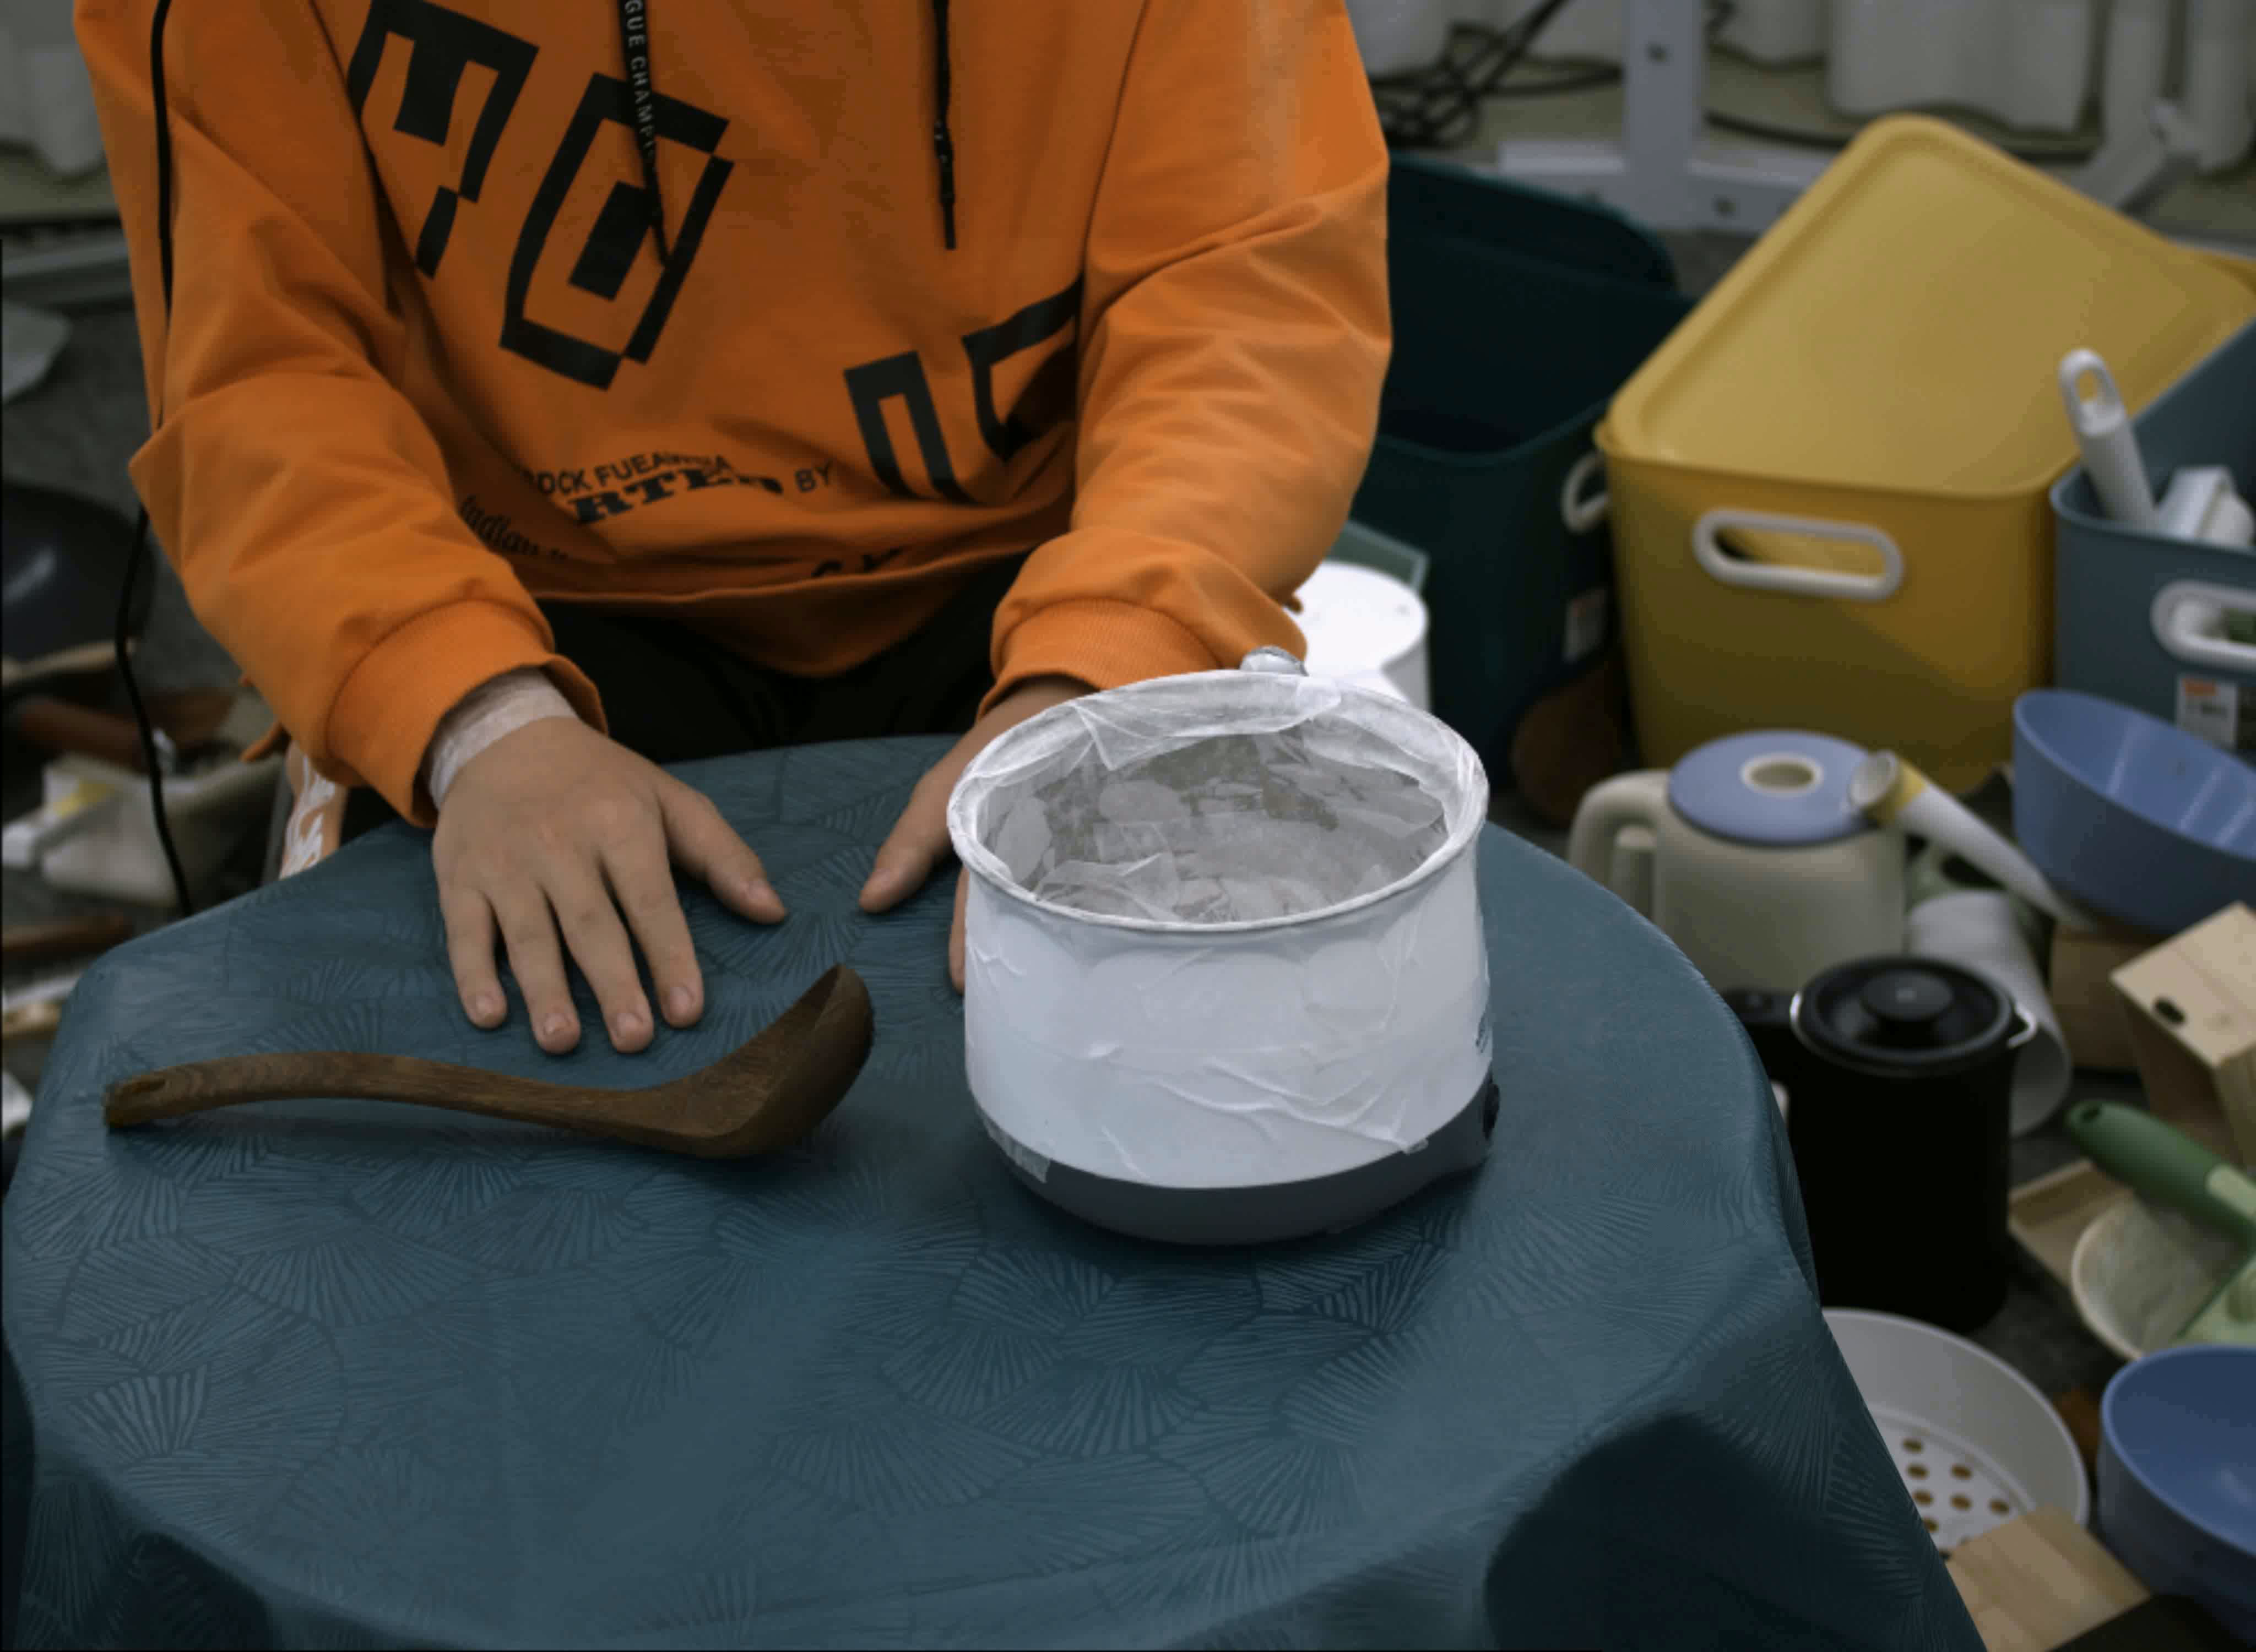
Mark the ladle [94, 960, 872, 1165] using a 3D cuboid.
[{"bbox_3d":[-0.220,0.075,1.898,0.272,0.070,0.077,3,25,9],"label":"ladle"}]

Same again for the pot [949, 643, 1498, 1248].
[{"bbox_3d":[0.037,0.032,1.883,0.177,0.135,0.238,2,28,9],"label":"pot"}]
